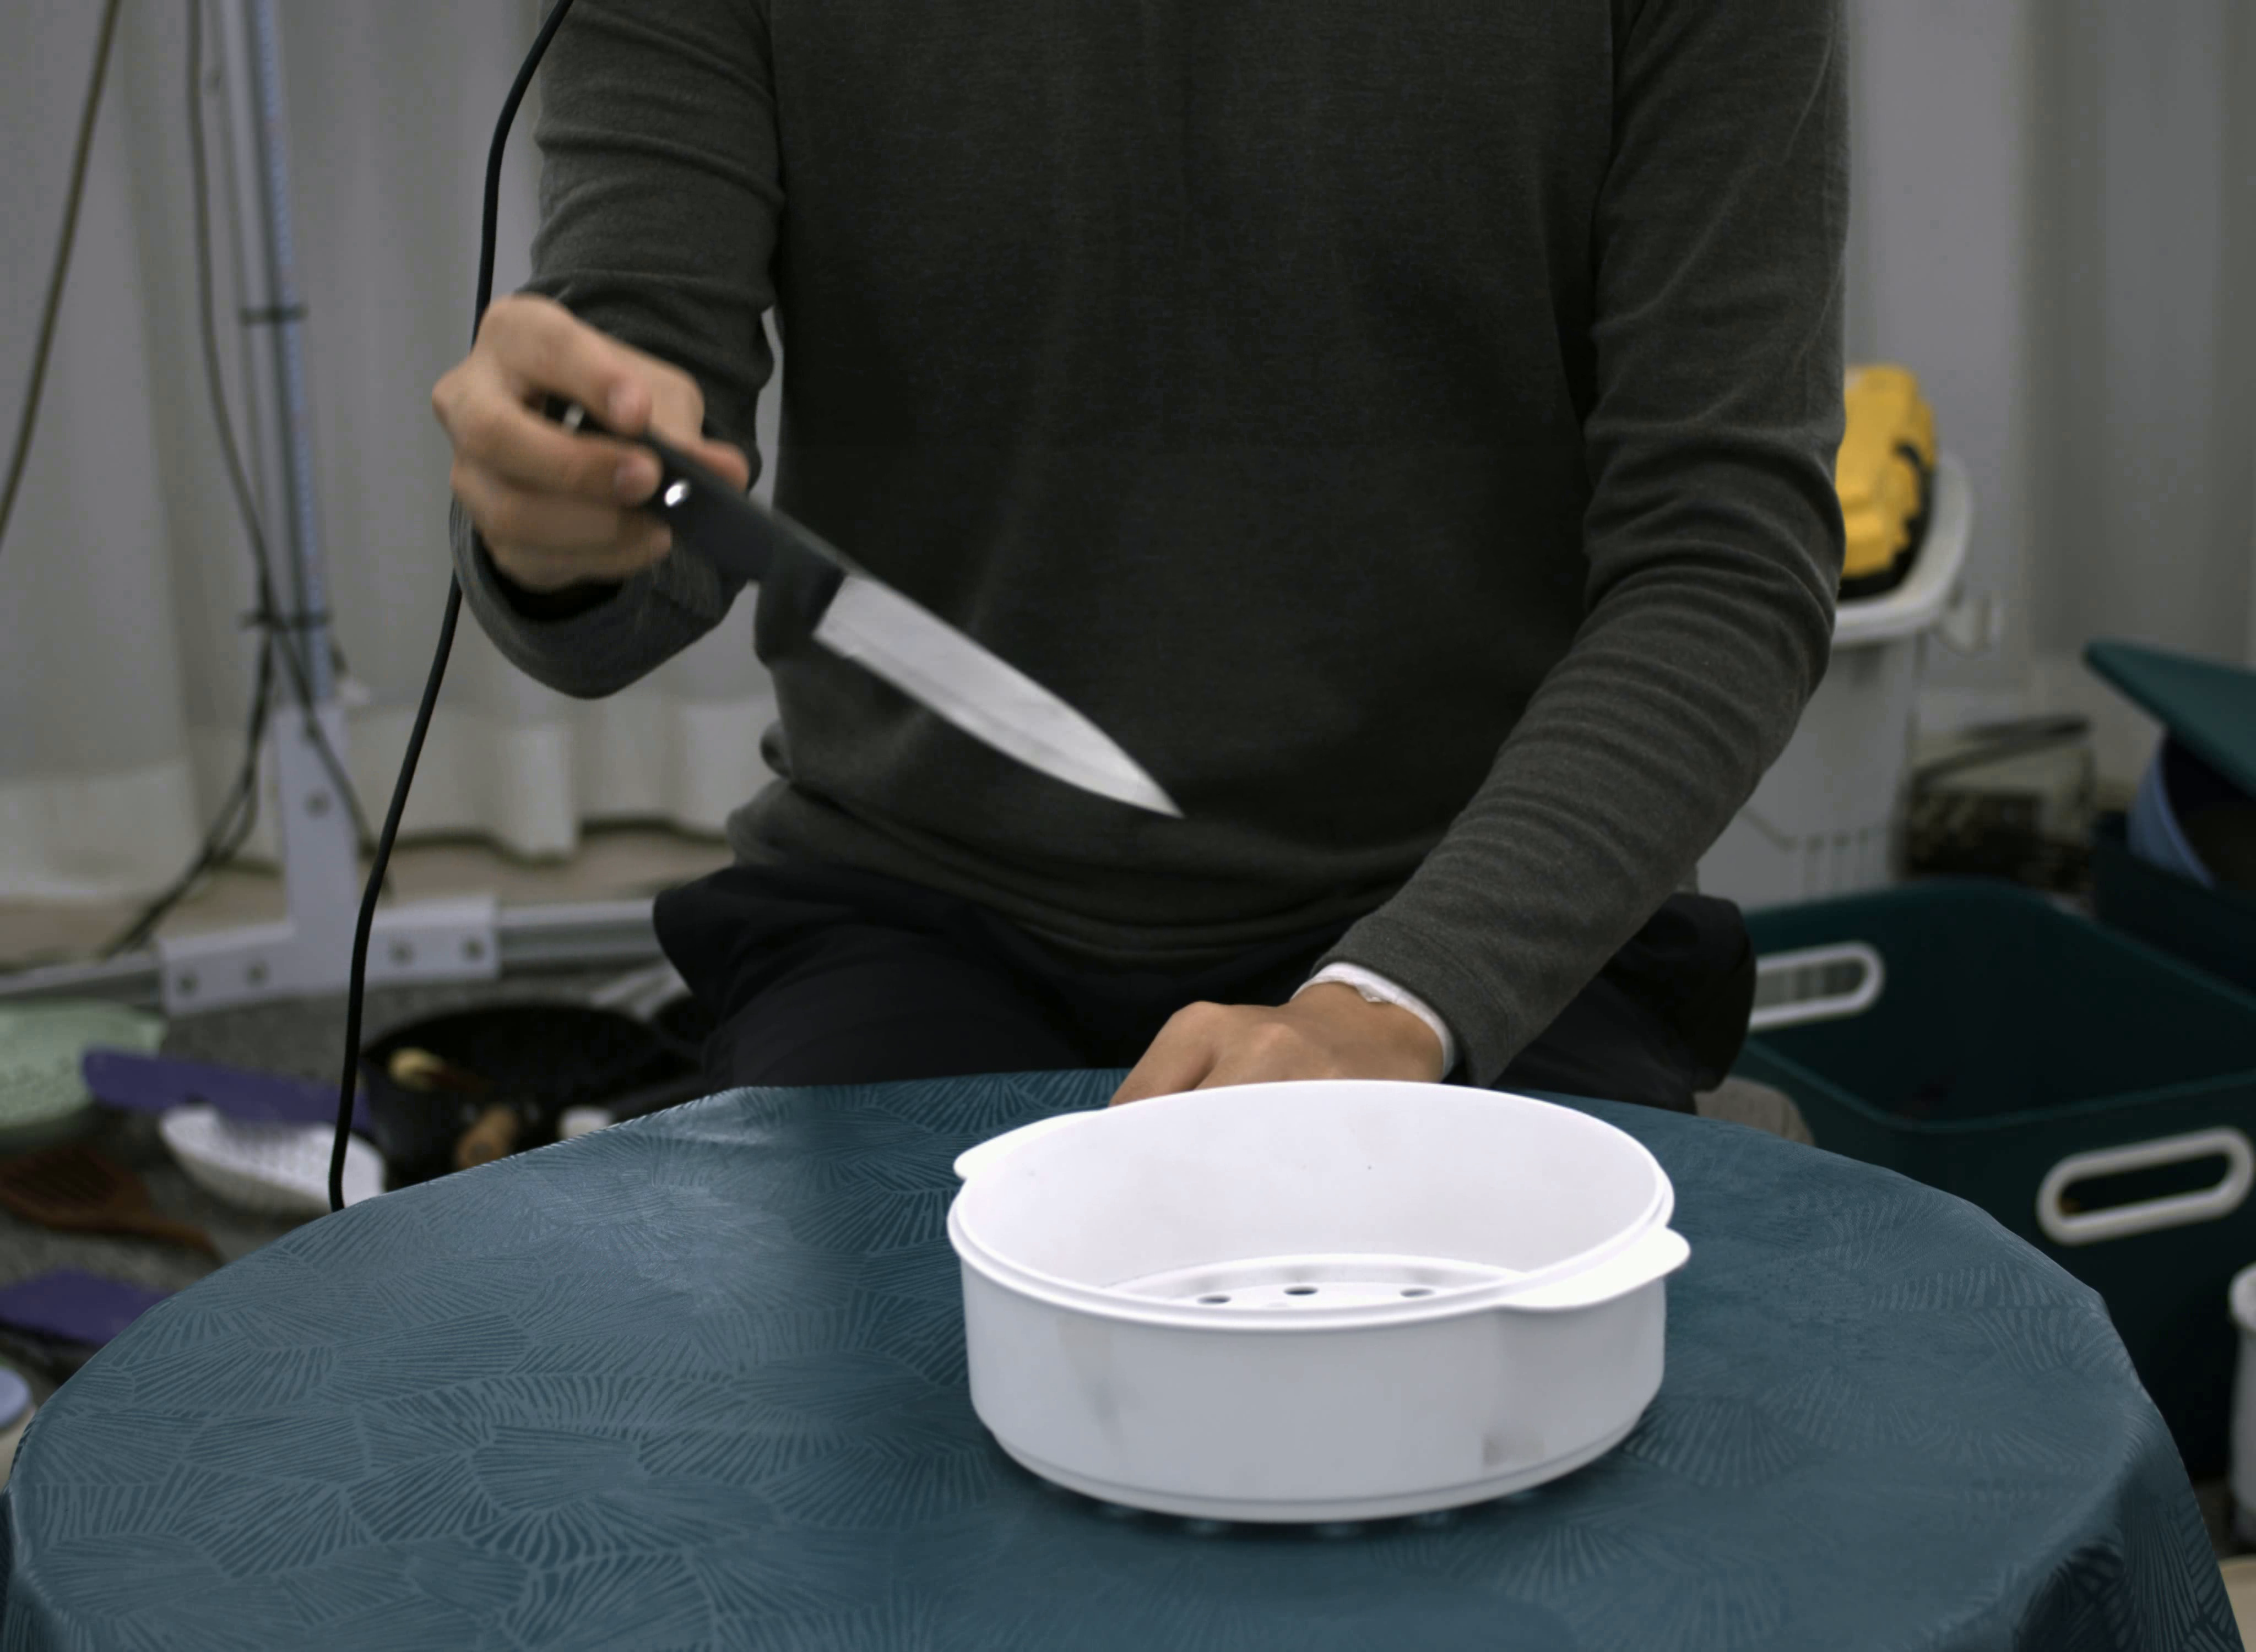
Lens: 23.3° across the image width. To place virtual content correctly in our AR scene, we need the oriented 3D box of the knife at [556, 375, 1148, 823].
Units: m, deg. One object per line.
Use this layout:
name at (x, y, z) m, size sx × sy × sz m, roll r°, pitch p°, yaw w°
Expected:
knife at (-0.074, -0.063, 1.482) m, size 0.240 × 0.016 × 0.024 m, roll 36°, pitch 79°, yaw 33°

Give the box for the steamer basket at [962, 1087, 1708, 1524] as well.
steamer basket at (0.056, 0.132, 1.510) m, size 0.231 × 0.069 × 0.201 m, roll 9°, pitch 19°, yaw 41°
